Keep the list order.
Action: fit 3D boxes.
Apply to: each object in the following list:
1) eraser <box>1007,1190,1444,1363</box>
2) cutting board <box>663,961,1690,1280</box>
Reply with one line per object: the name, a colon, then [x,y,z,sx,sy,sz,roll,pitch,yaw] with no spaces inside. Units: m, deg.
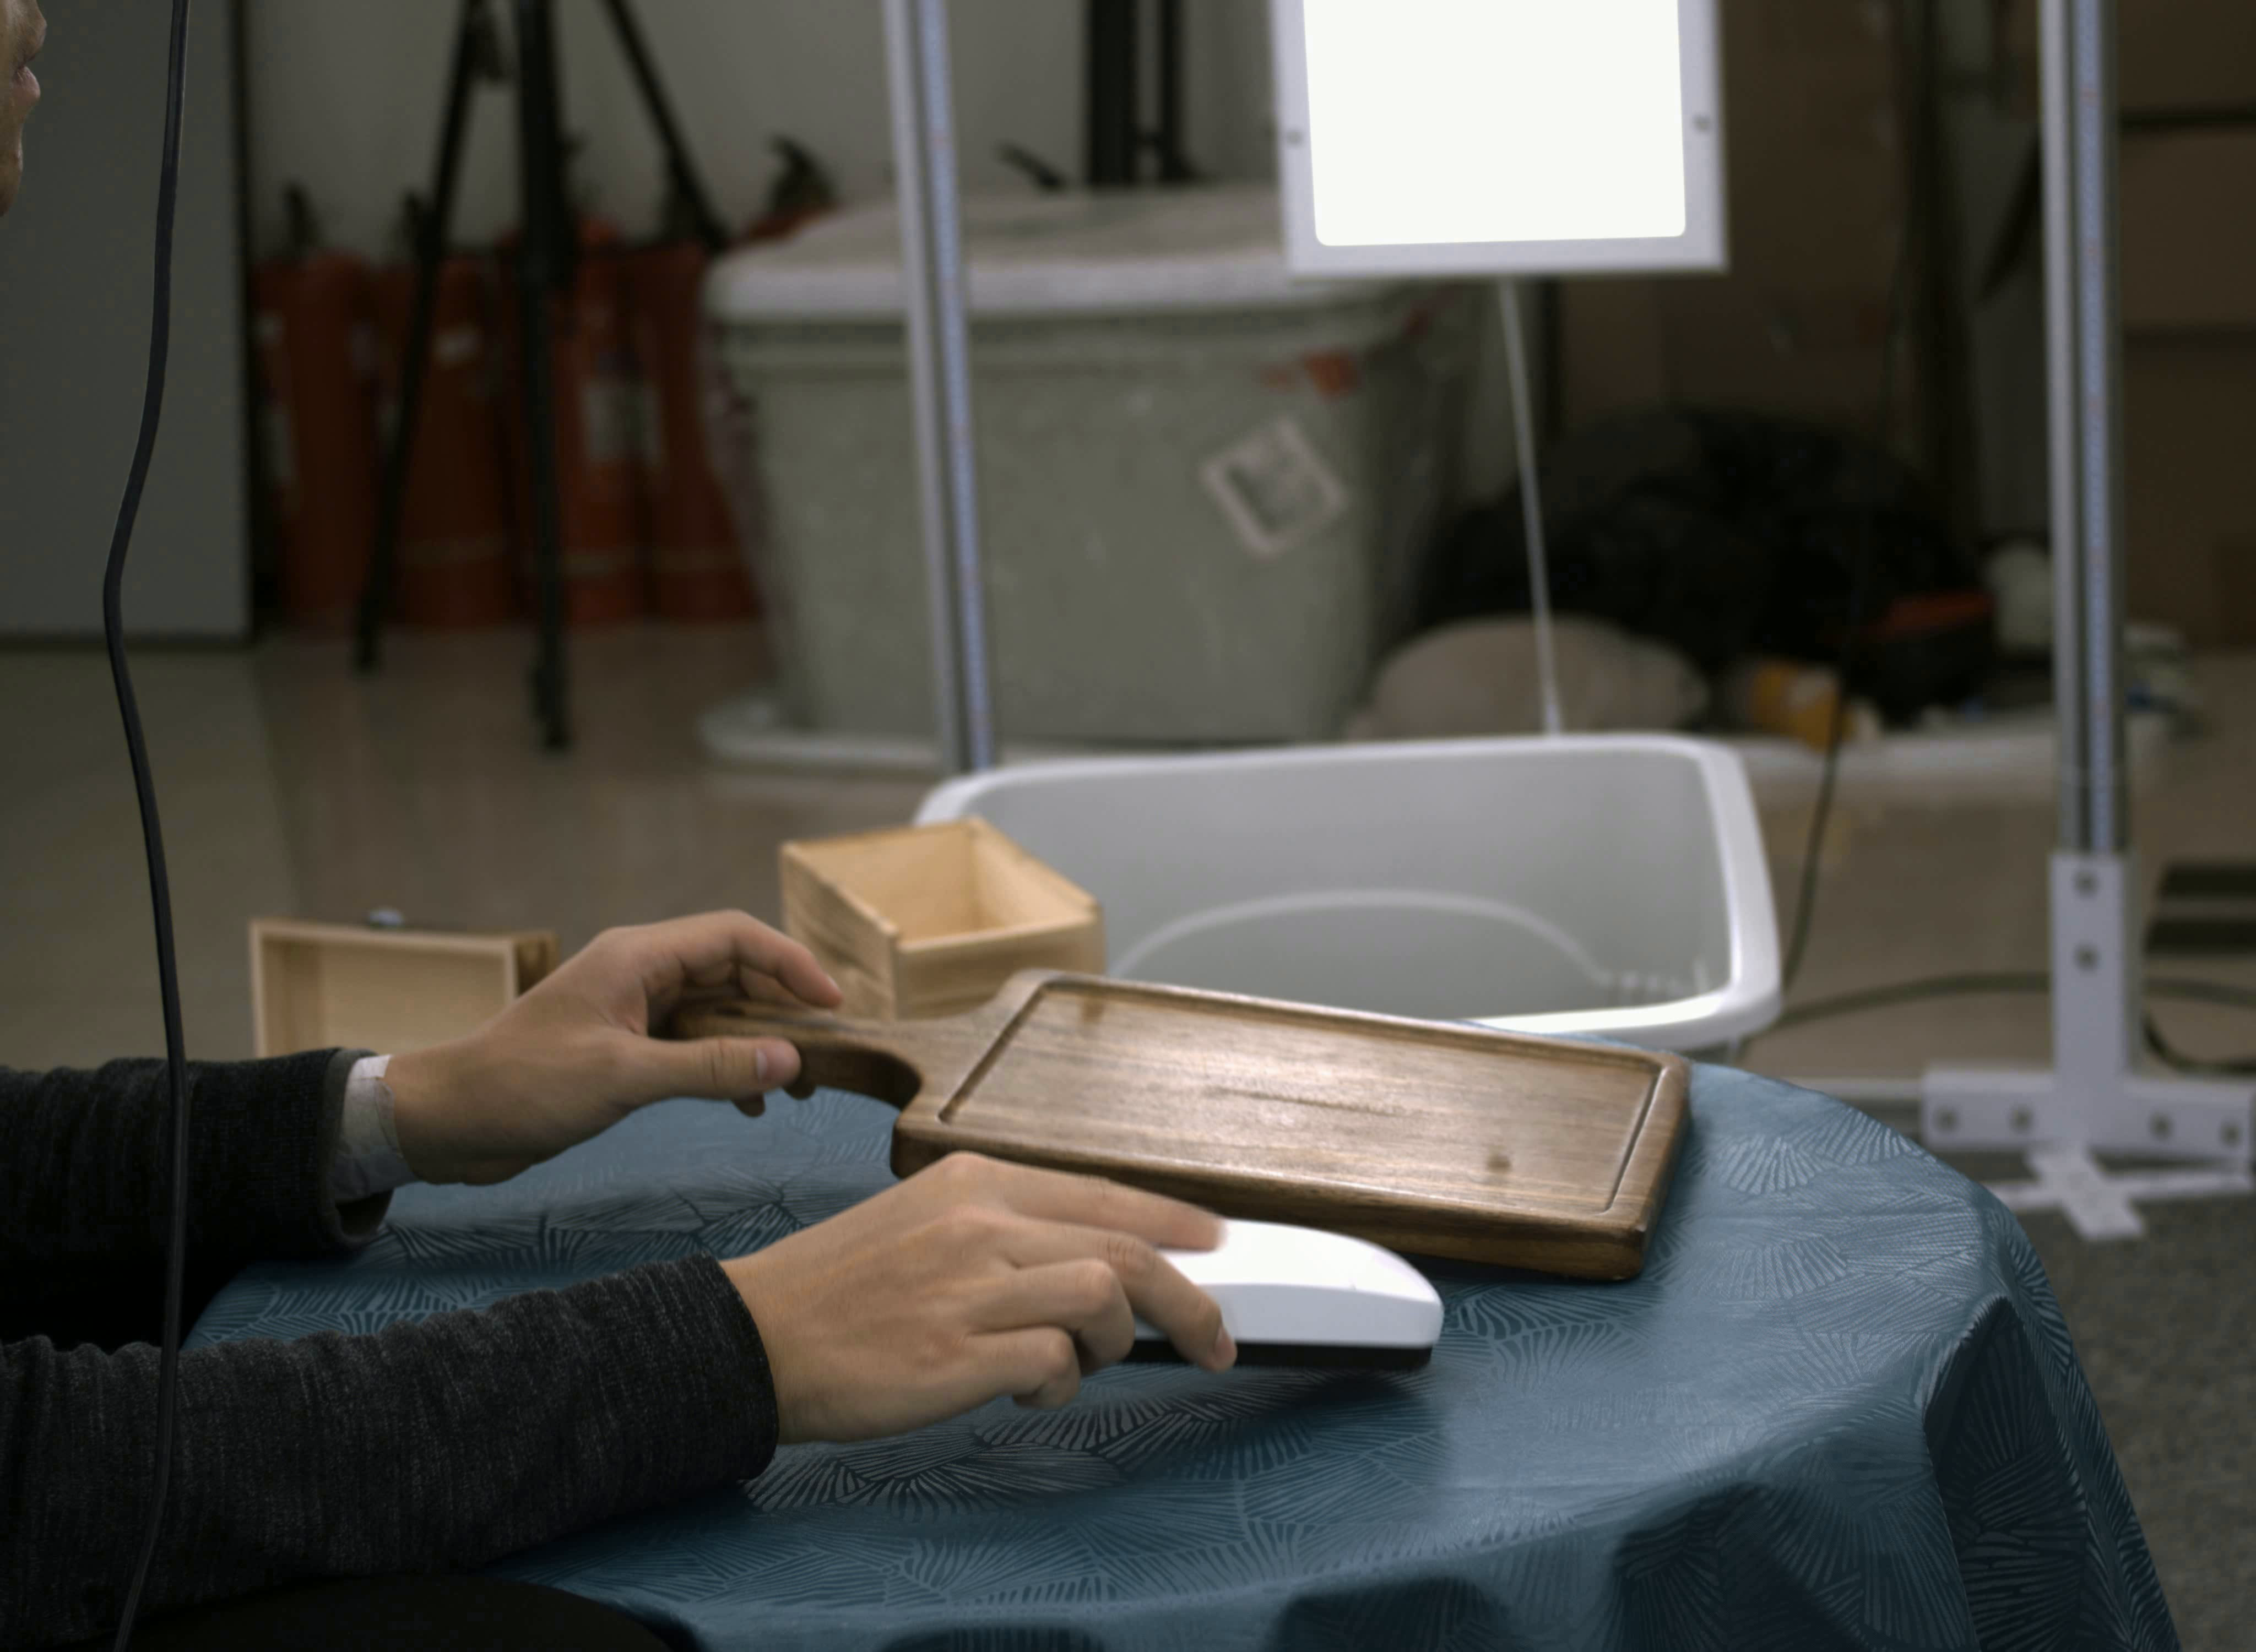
eraser: [0.029,0.138,1.675,0.129,0.035,0.064,5,13,-20]
cutting board: [0.012,0.090,1.880,0.354,0.023,0.198,8,16,11]
